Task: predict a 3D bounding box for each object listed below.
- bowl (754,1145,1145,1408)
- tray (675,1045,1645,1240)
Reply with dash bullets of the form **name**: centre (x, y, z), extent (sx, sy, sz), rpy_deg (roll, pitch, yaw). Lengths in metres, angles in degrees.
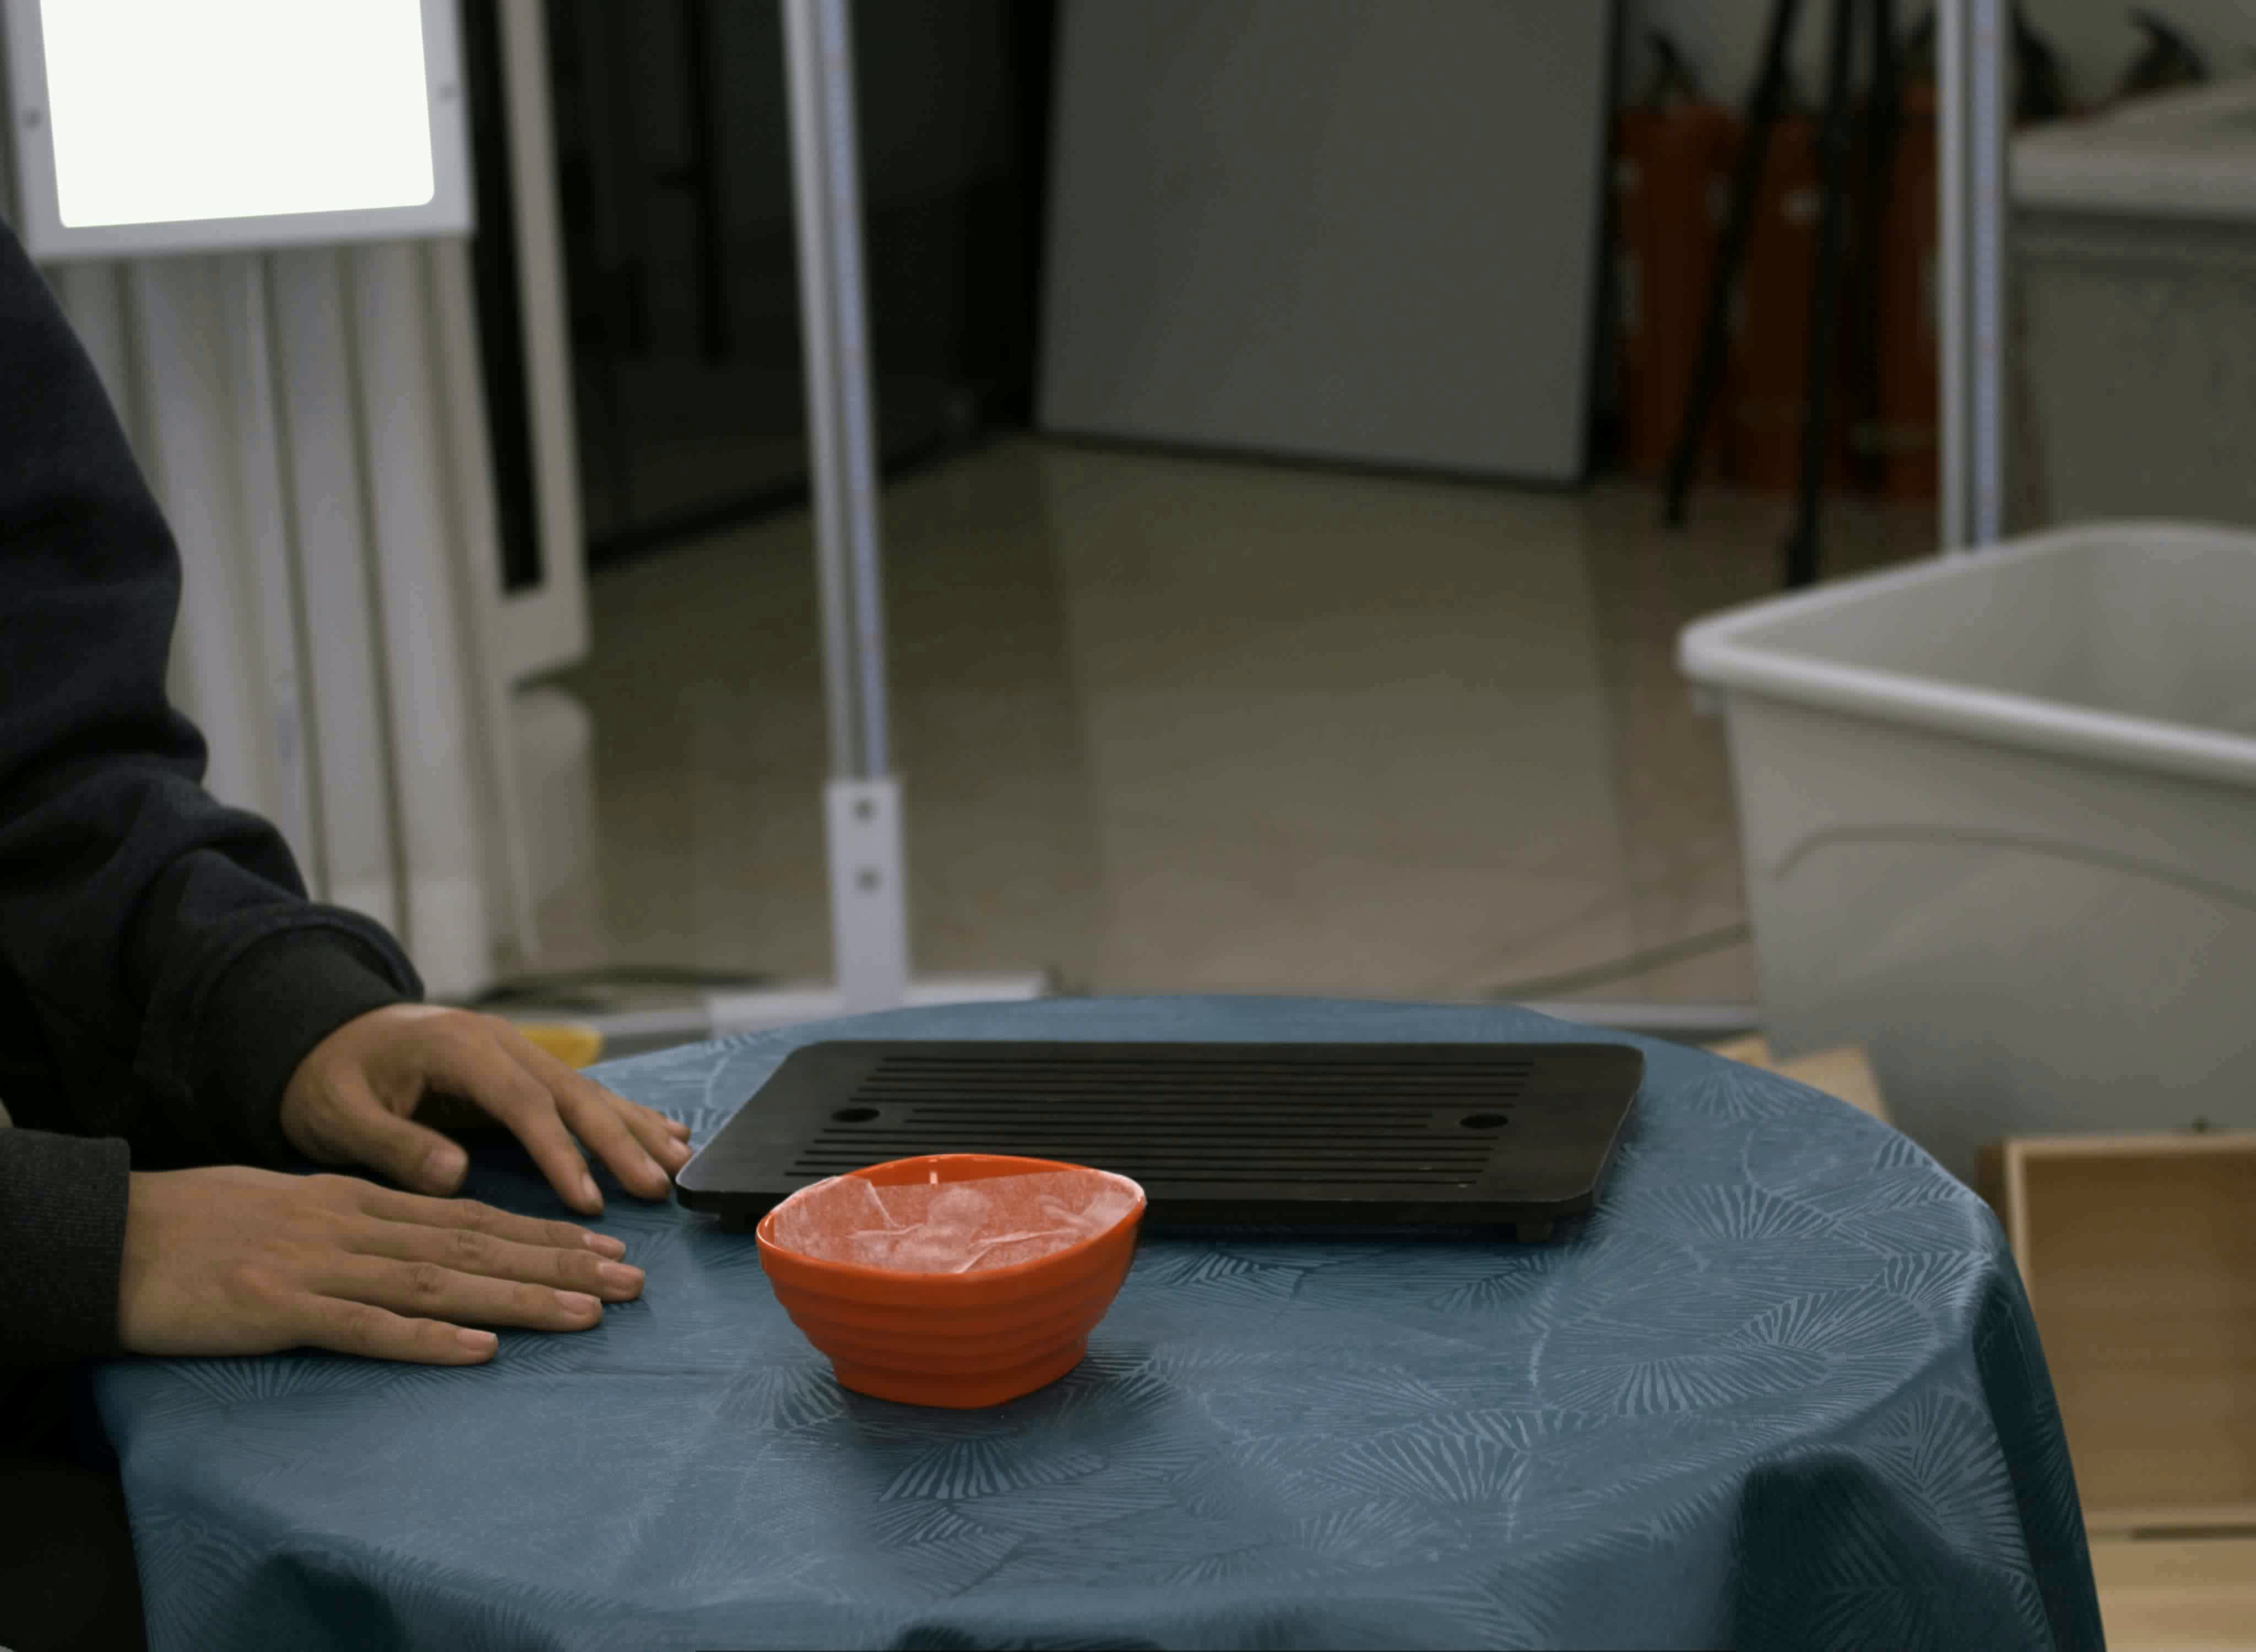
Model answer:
- **bowl**: centre (-0.051, 0.136, 1.607), extent (0.117, 0.052, 0.119), rpy_deg (-4, 15, 0)
- **tray**: centre (0.014, 0.105, 1.795), extent (0.304, 0.019, 0.169), rpy_deg (-1, 14, 14)
